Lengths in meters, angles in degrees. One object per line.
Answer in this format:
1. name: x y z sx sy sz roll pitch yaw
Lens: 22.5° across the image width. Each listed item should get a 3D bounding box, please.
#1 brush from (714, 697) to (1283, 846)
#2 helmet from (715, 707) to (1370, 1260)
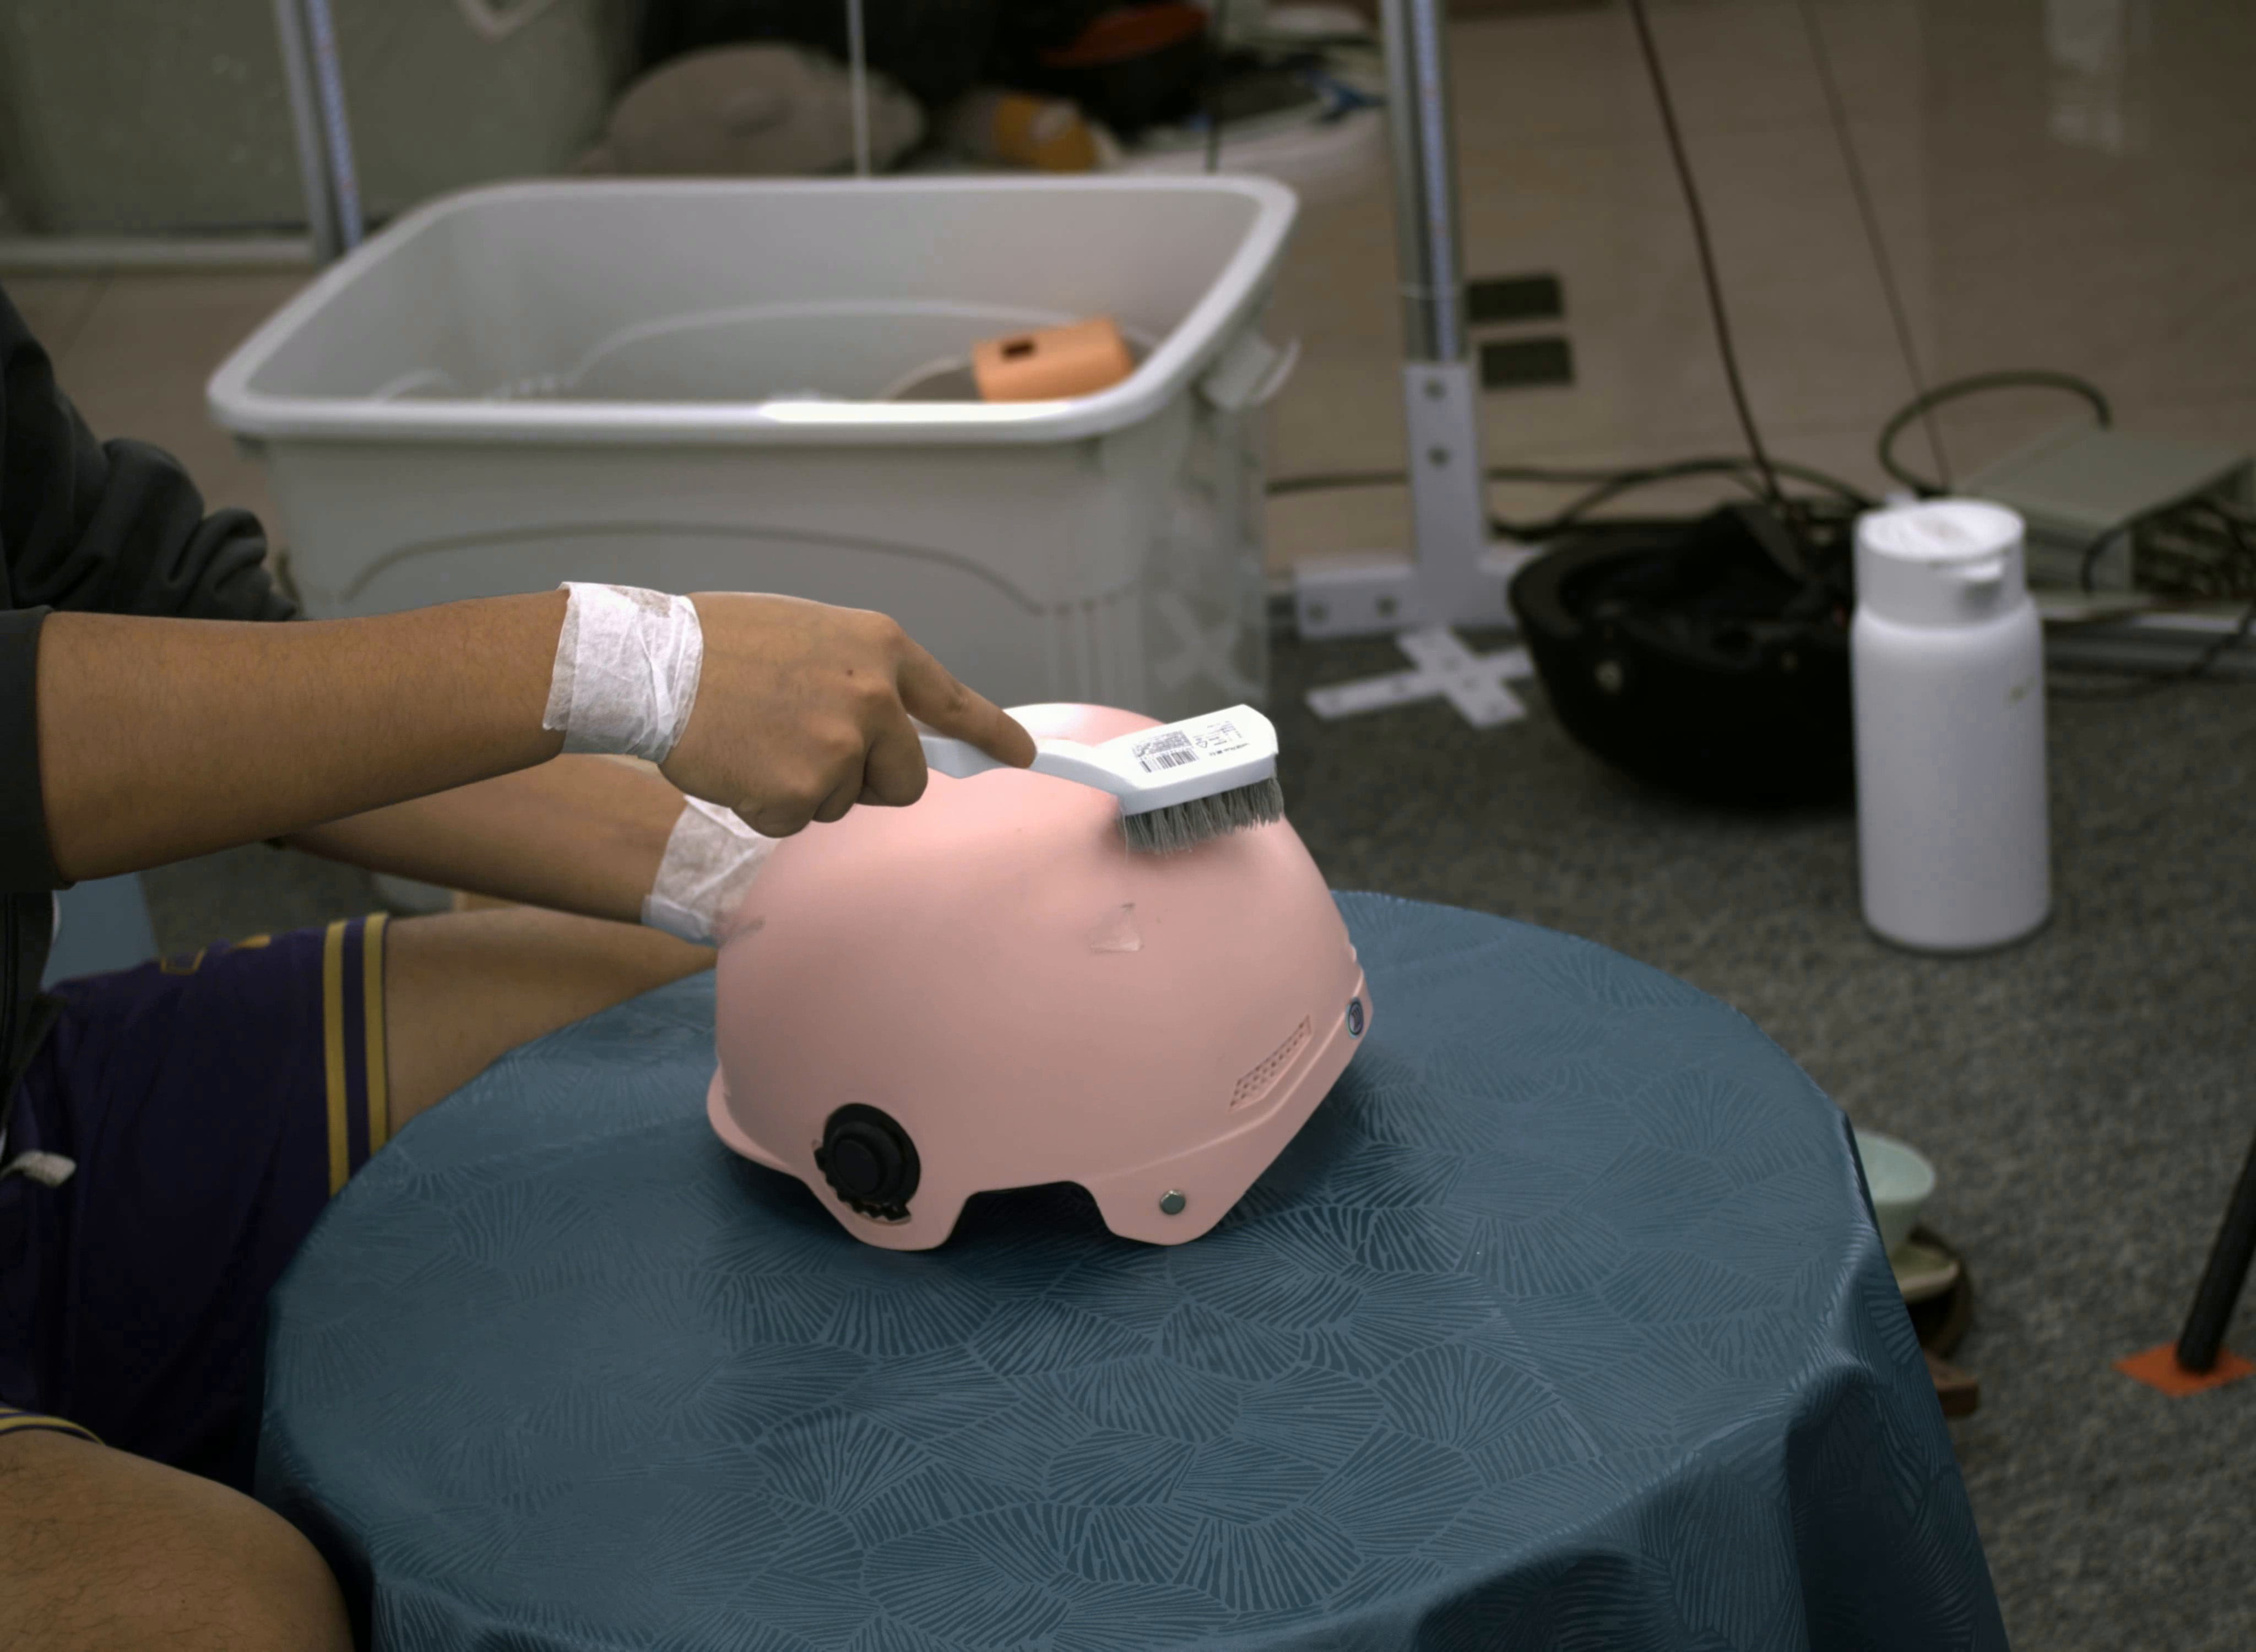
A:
1. brush: -0.046 -0.018 2.026 0.243 0.051 0.034 -2 36 -35
2. helmet: -0.046 0.042 2.168 0.265 0.161 0.230 0 31 22
